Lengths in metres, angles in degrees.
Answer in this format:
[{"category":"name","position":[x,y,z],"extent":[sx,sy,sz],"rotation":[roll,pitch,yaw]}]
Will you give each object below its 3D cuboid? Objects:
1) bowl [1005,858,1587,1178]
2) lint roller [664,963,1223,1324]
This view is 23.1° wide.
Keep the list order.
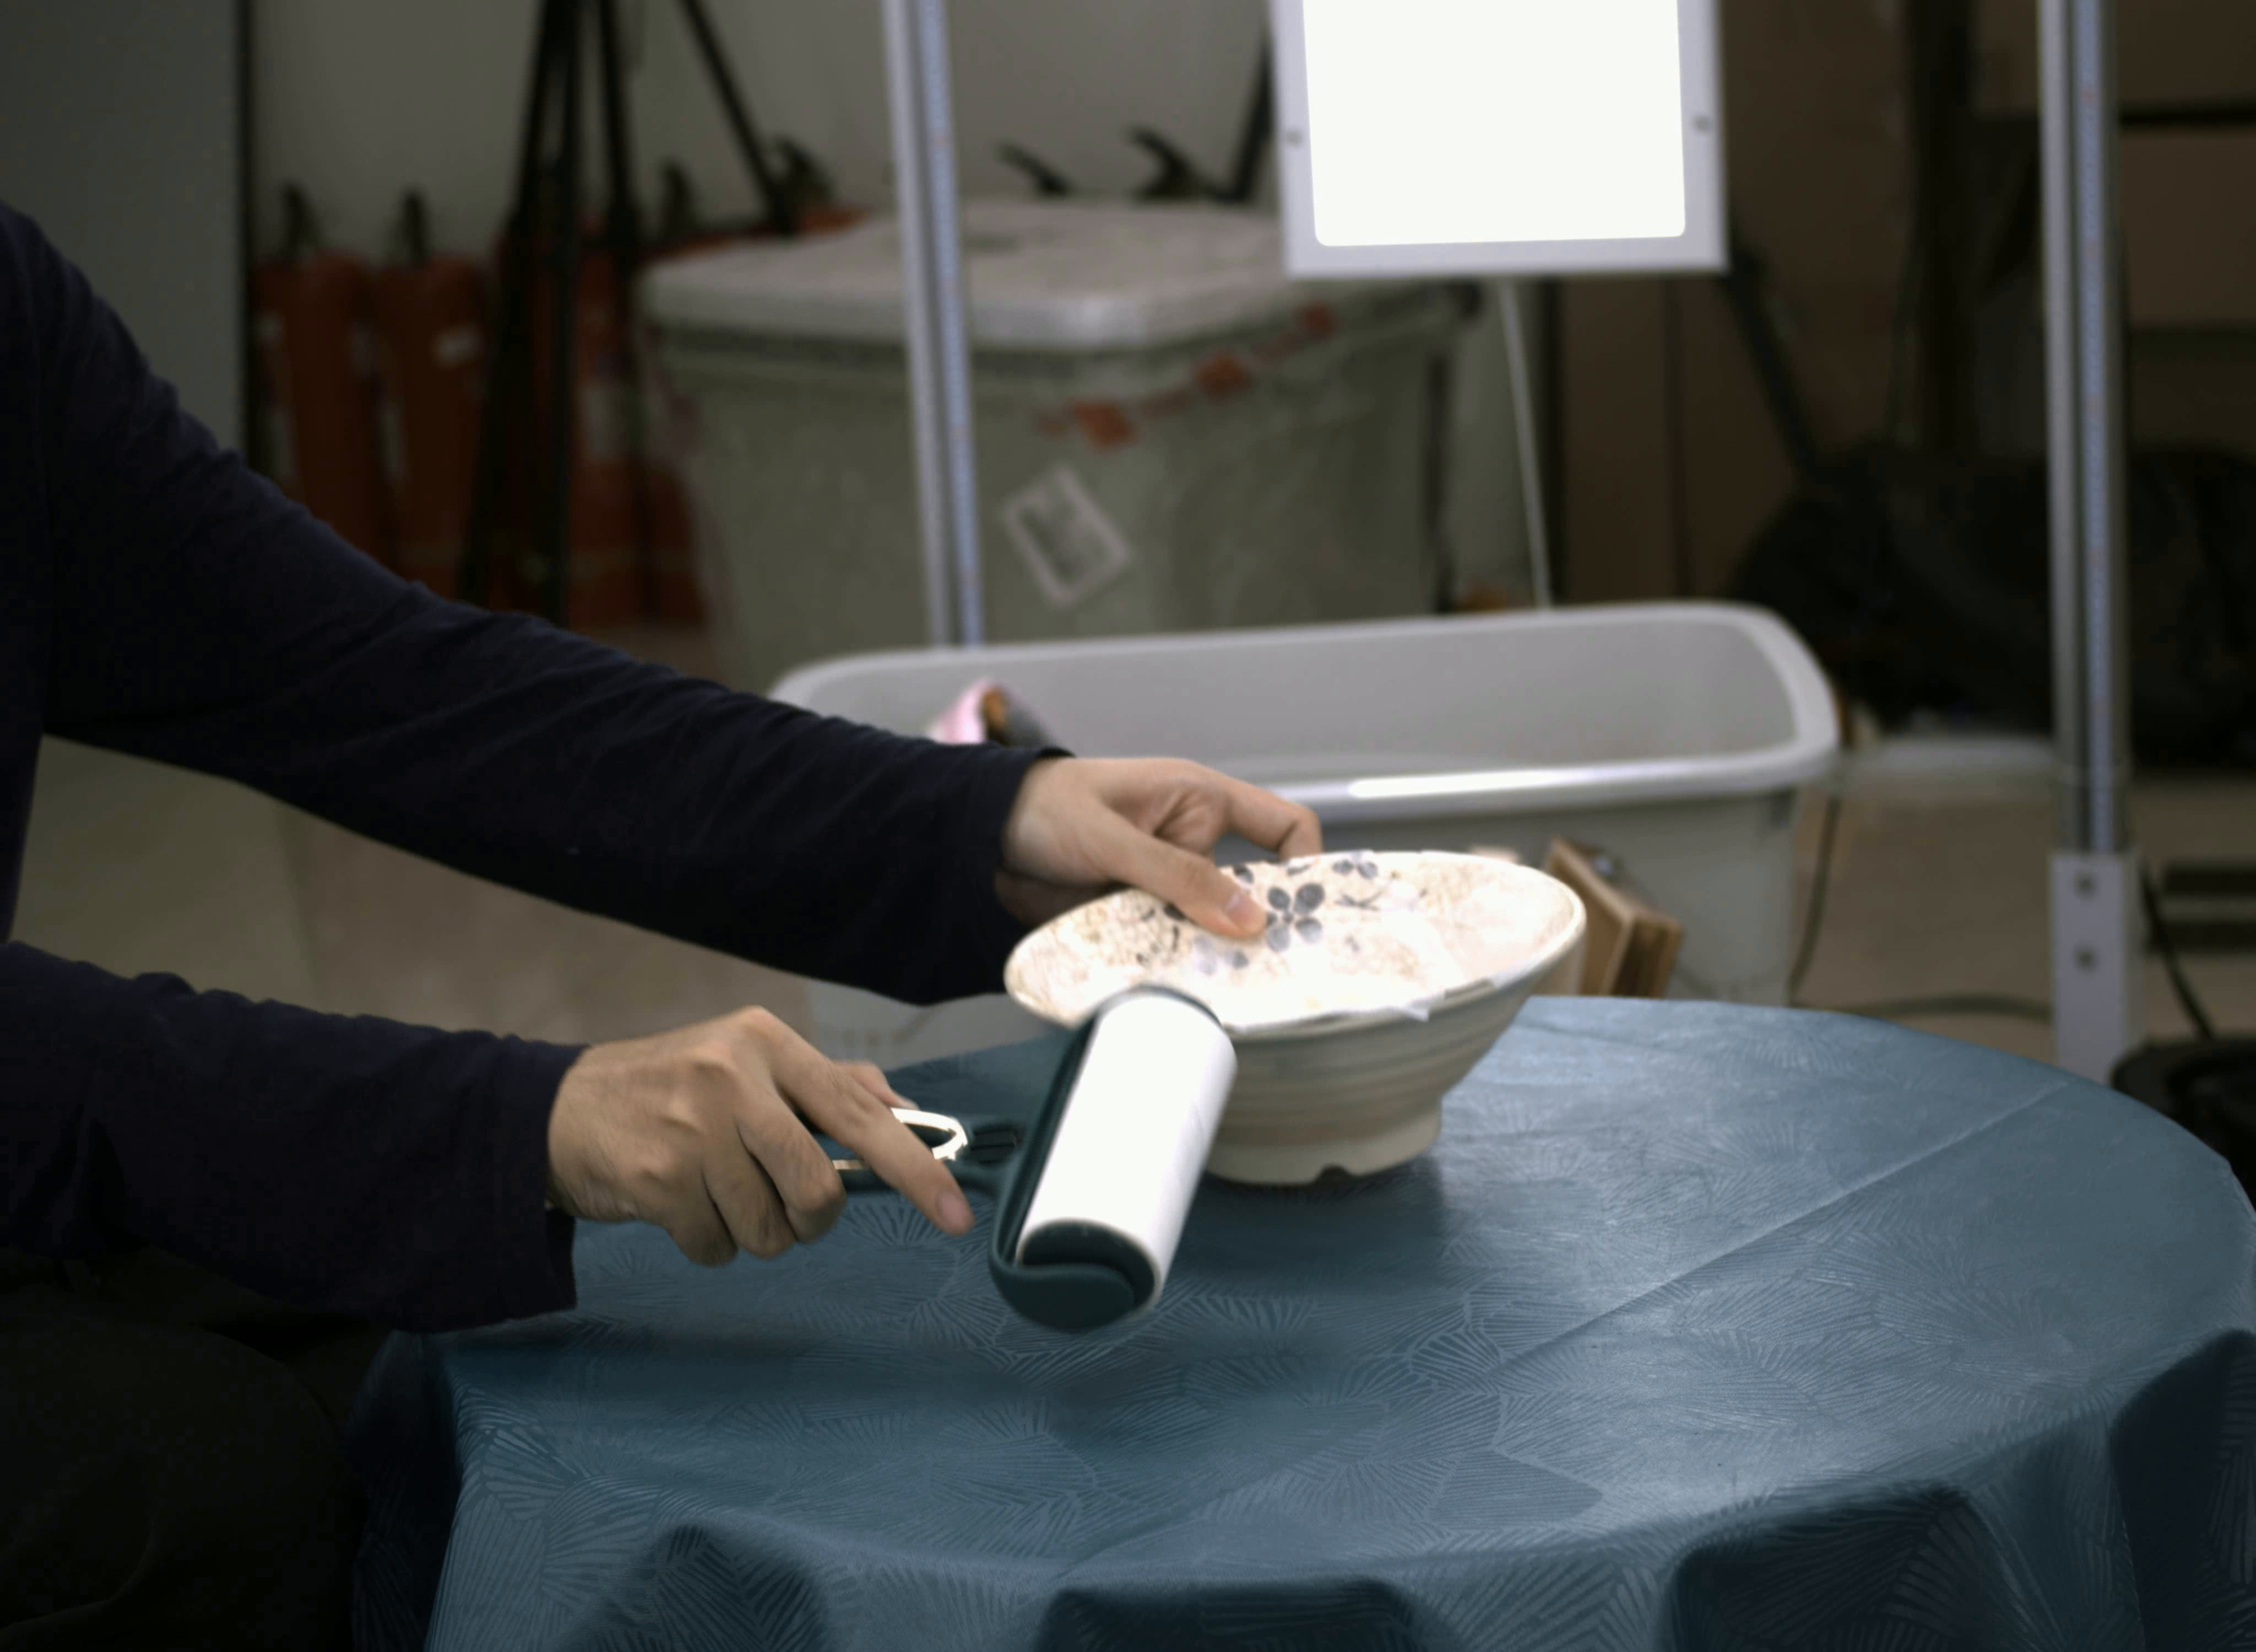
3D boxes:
[{"category":"bowl","position":[0.063,0.072,1.905],"extent":[0.203,0.078,0.204],"rotation":[-9,12,0]},{"category":"lint roller","position":[-0.066,0.097,1.747],"extent":[0.182,0.048,0.133],"rotation":[2,44,17]}]
